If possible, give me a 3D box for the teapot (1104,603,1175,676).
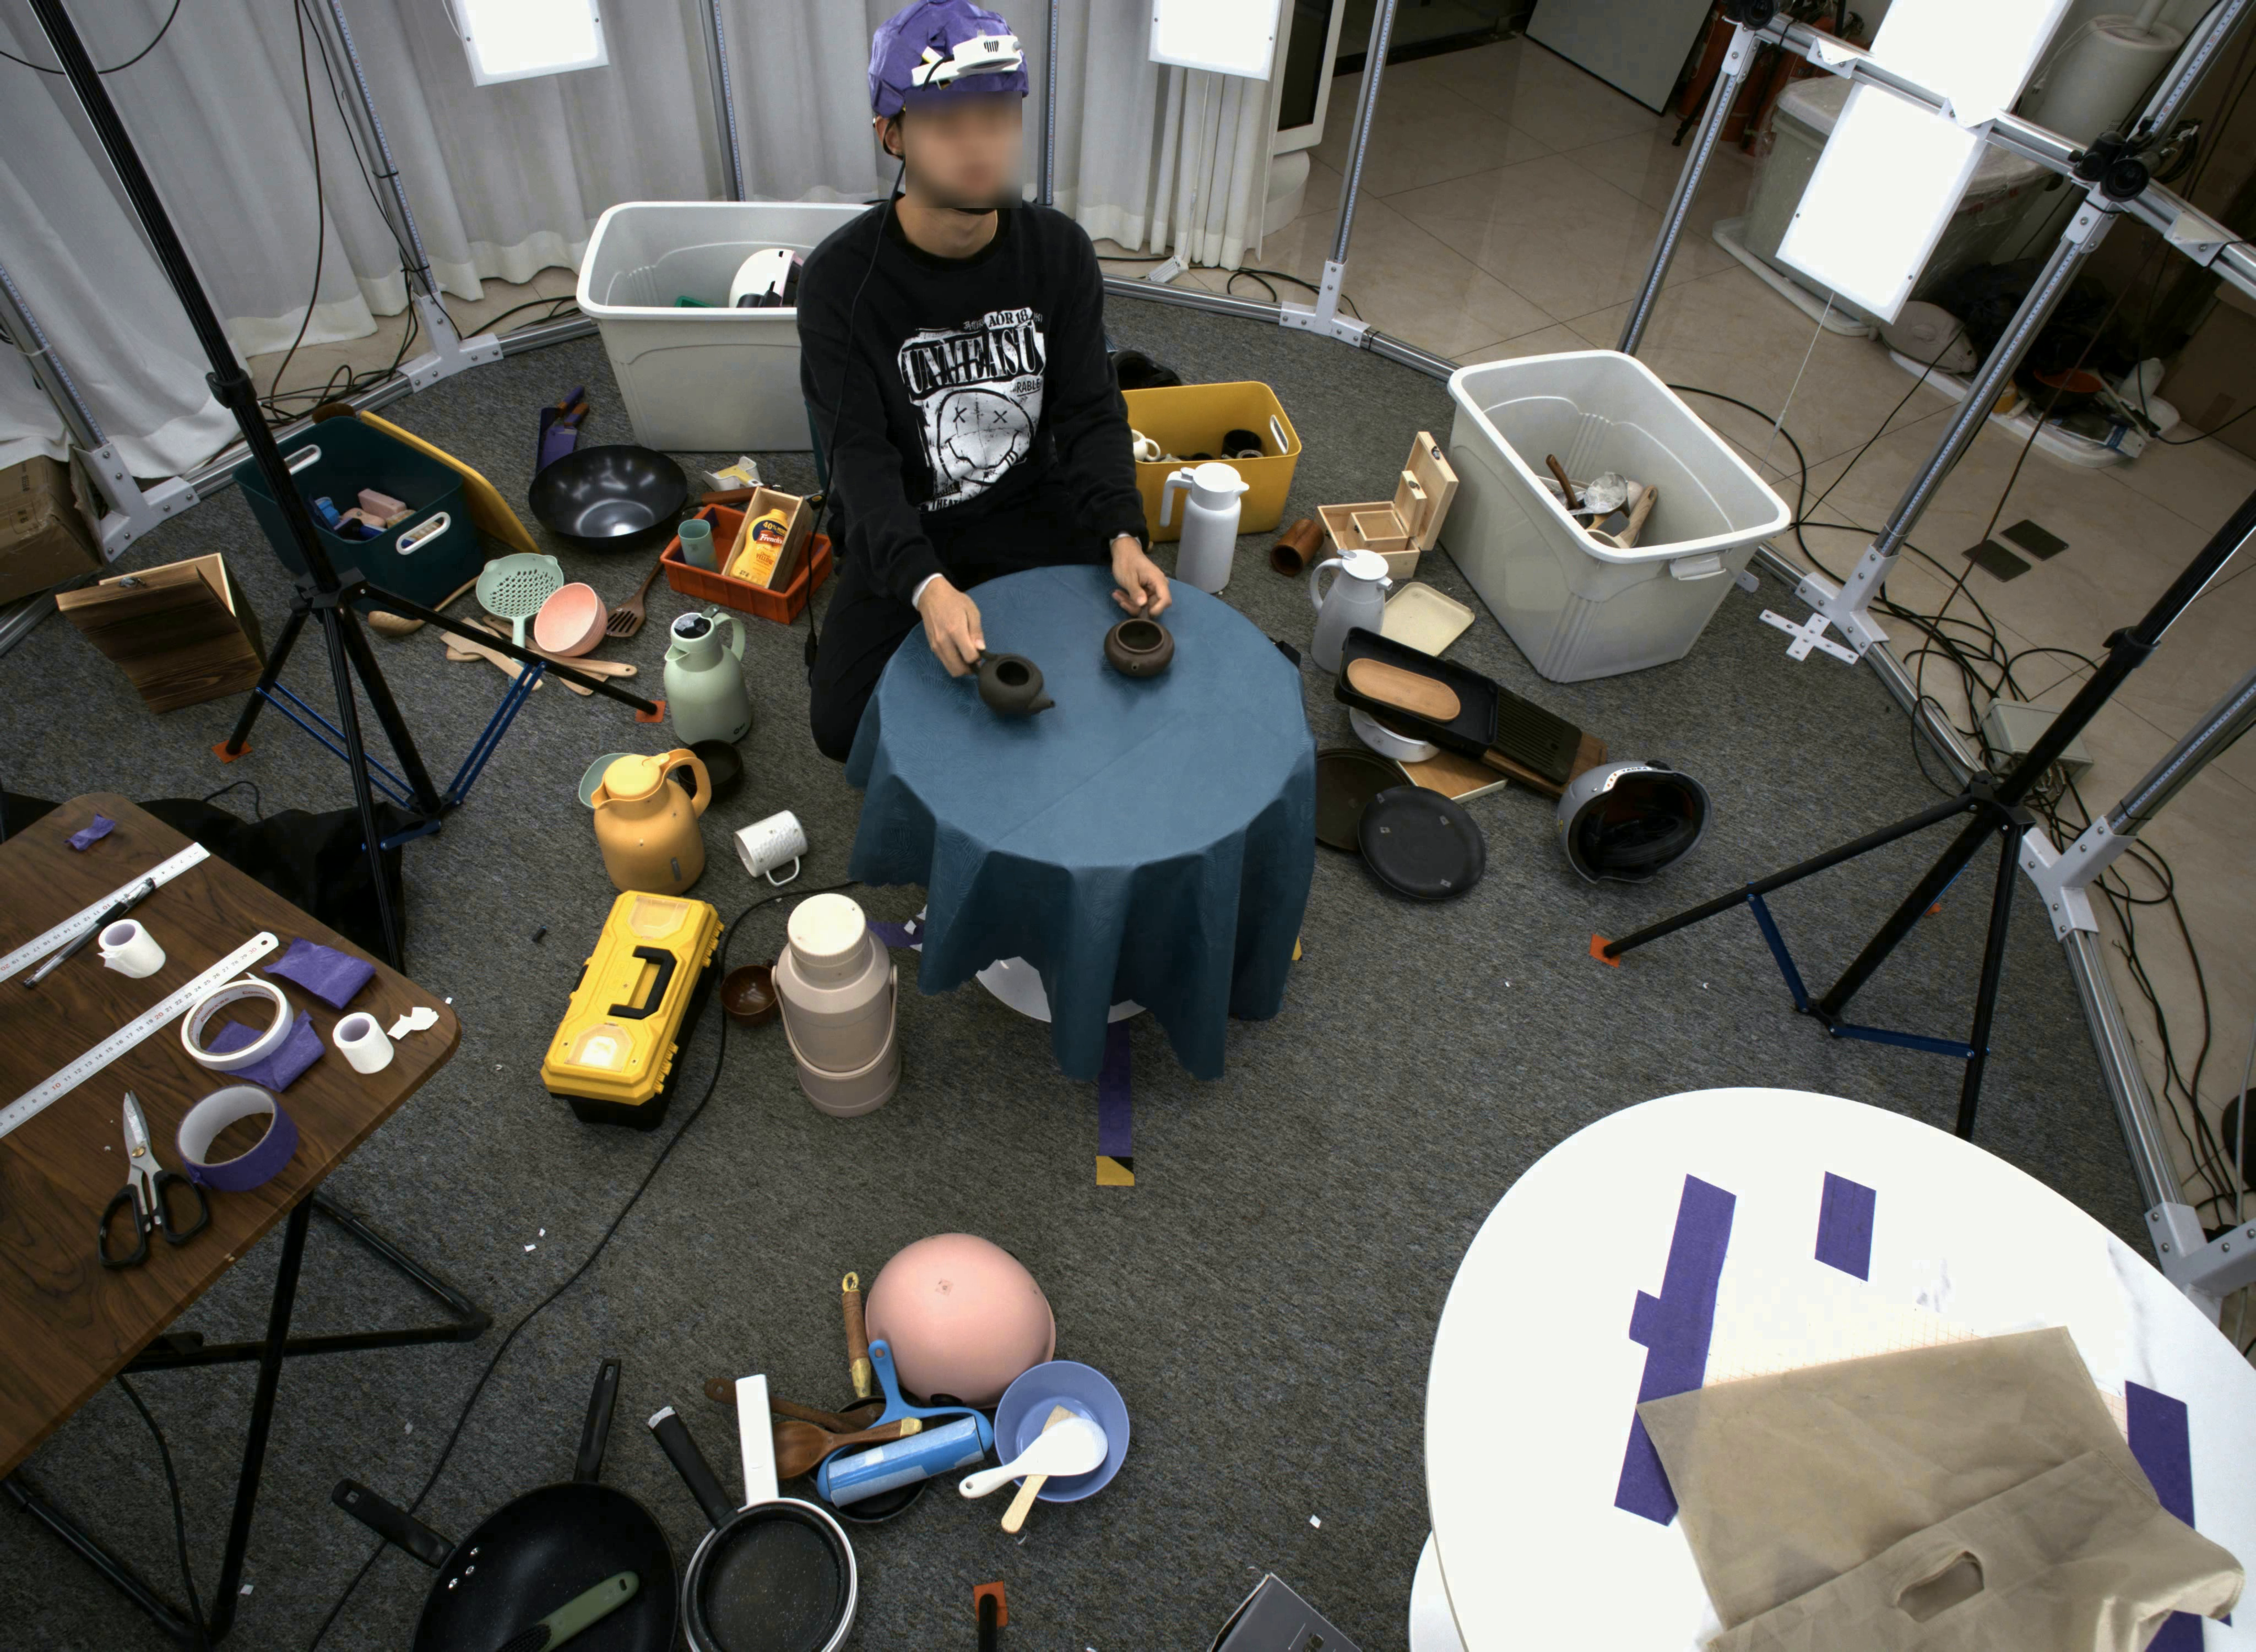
[{"bbox_3d":[0.017,-0.265,1.865,0.102,0.052,0.157,4,49,-2],"label":"teapot"}]

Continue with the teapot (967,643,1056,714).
[{"bbox_3d":[-0.163,-0.199,1.774,0.155,0.063,0.093,38,49,13],"label":"teapot"}]
